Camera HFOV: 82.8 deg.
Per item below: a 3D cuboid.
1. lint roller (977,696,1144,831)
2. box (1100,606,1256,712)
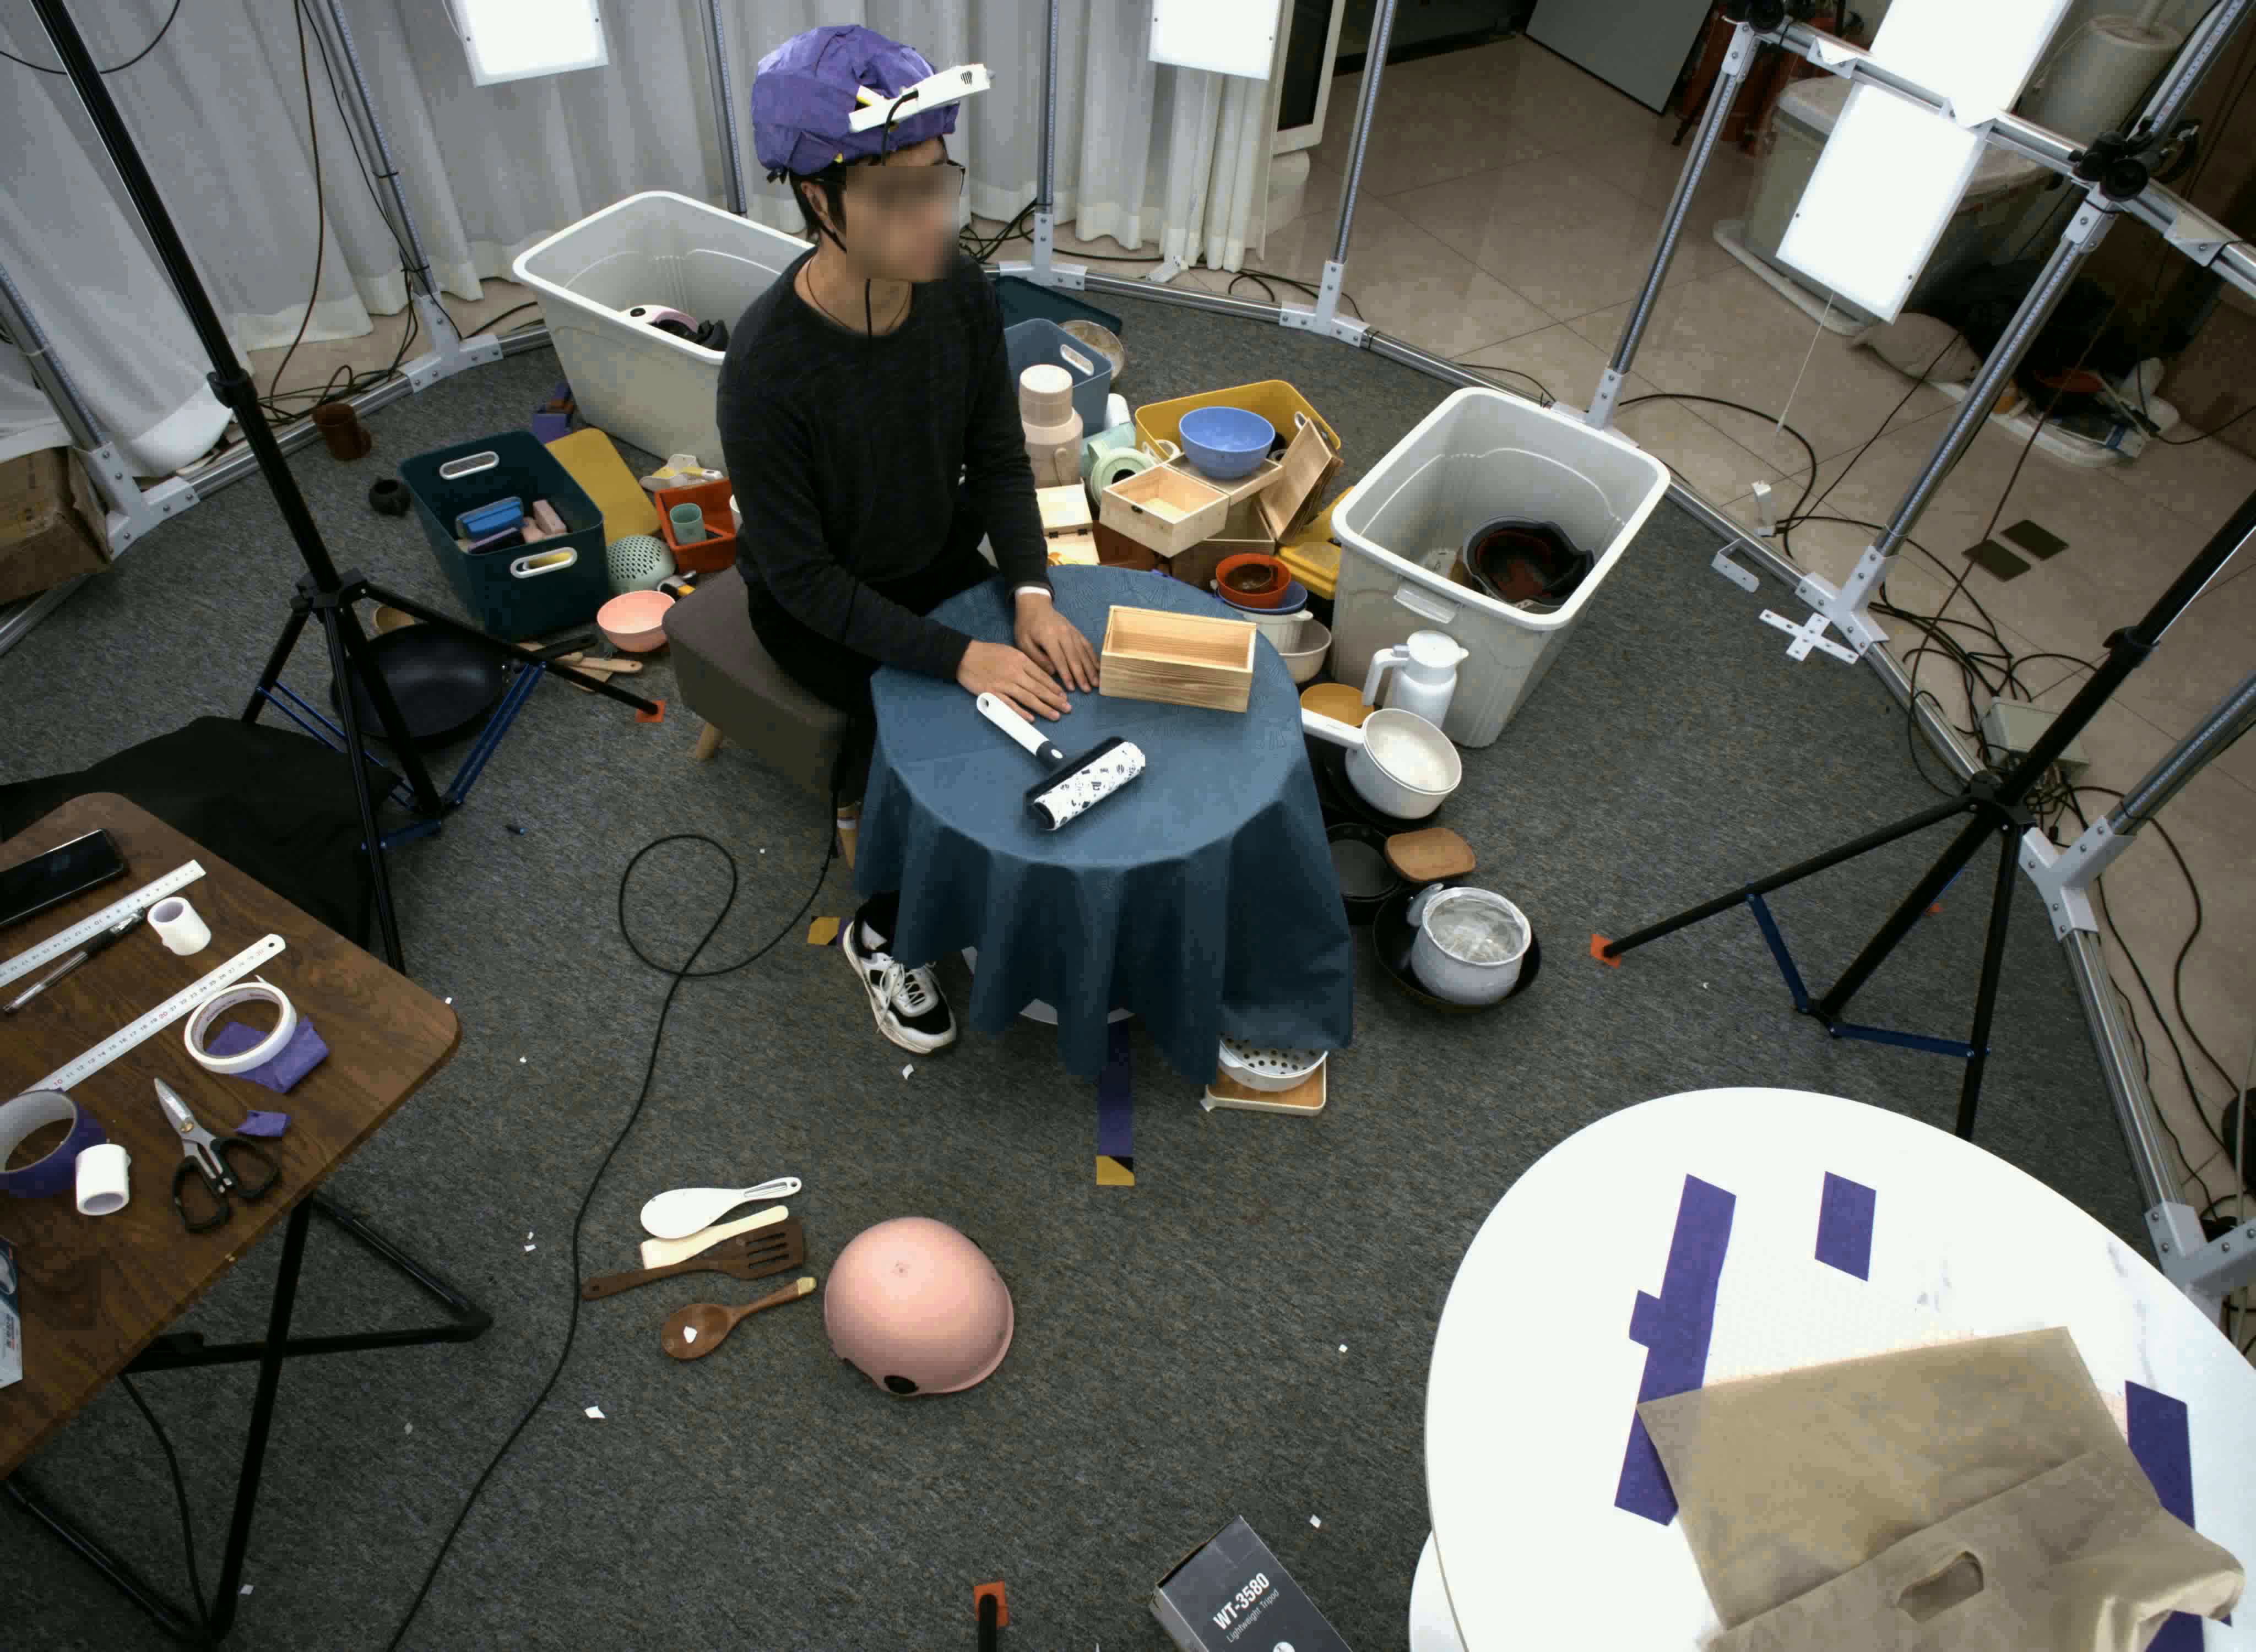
[{"bbox_3d":[-0.122,-0.110,1.729,0.178,0.049,0.251,-35,59,-28],"label":"lint roller"},{"bbox_3d":[0.071,-0.239,1.830,0.211,0.078,0.110,7,49,2],"label":"box"}]
